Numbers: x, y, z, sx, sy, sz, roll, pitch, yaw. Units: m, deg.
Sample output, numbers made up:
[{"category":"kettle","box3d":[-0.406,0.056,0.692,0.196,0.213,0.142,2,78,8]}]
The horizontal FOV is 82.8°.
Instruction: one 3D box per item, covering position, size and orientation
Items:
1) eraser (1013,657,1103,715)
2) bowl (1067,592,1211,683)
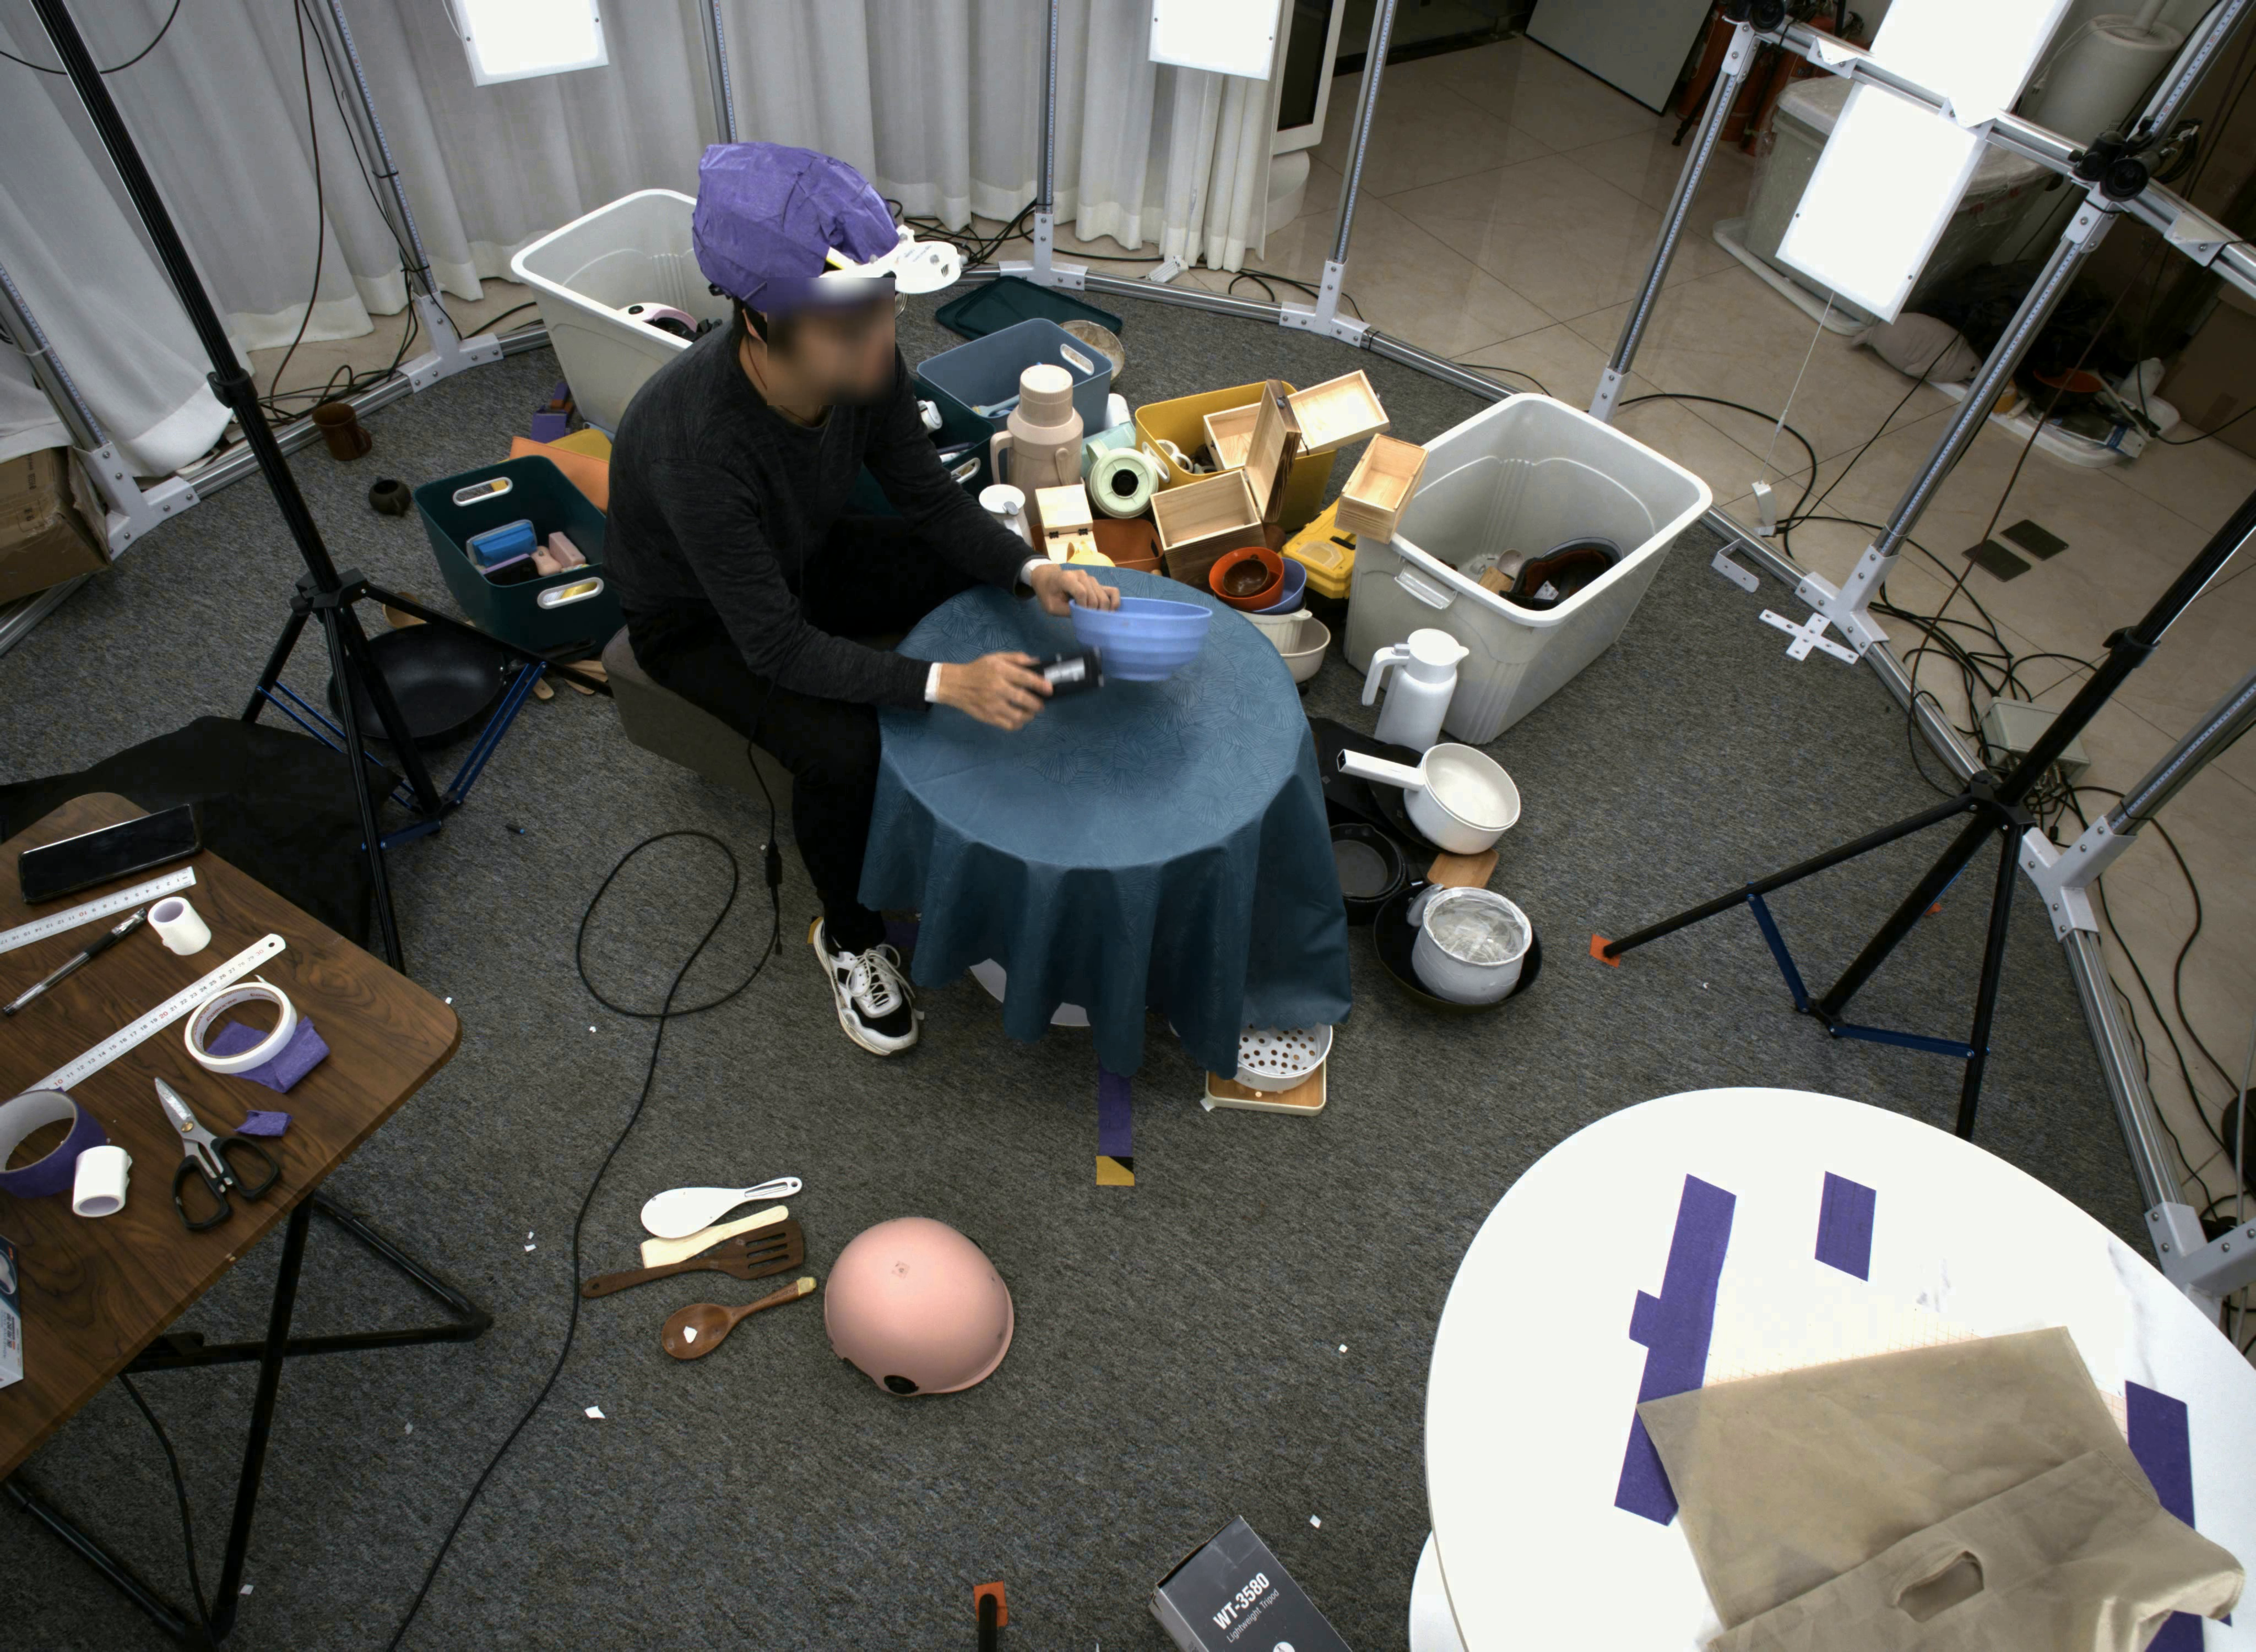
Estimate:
[{"category":"eraser","box3d":[-0.091,-0.182,1.668,0.125,0.030,0.054,-9,72,29]},{"category":"bowl","box3d":[0.015,-0.255,1.765,0.196,0.094,0.200,0,22,0]}]
